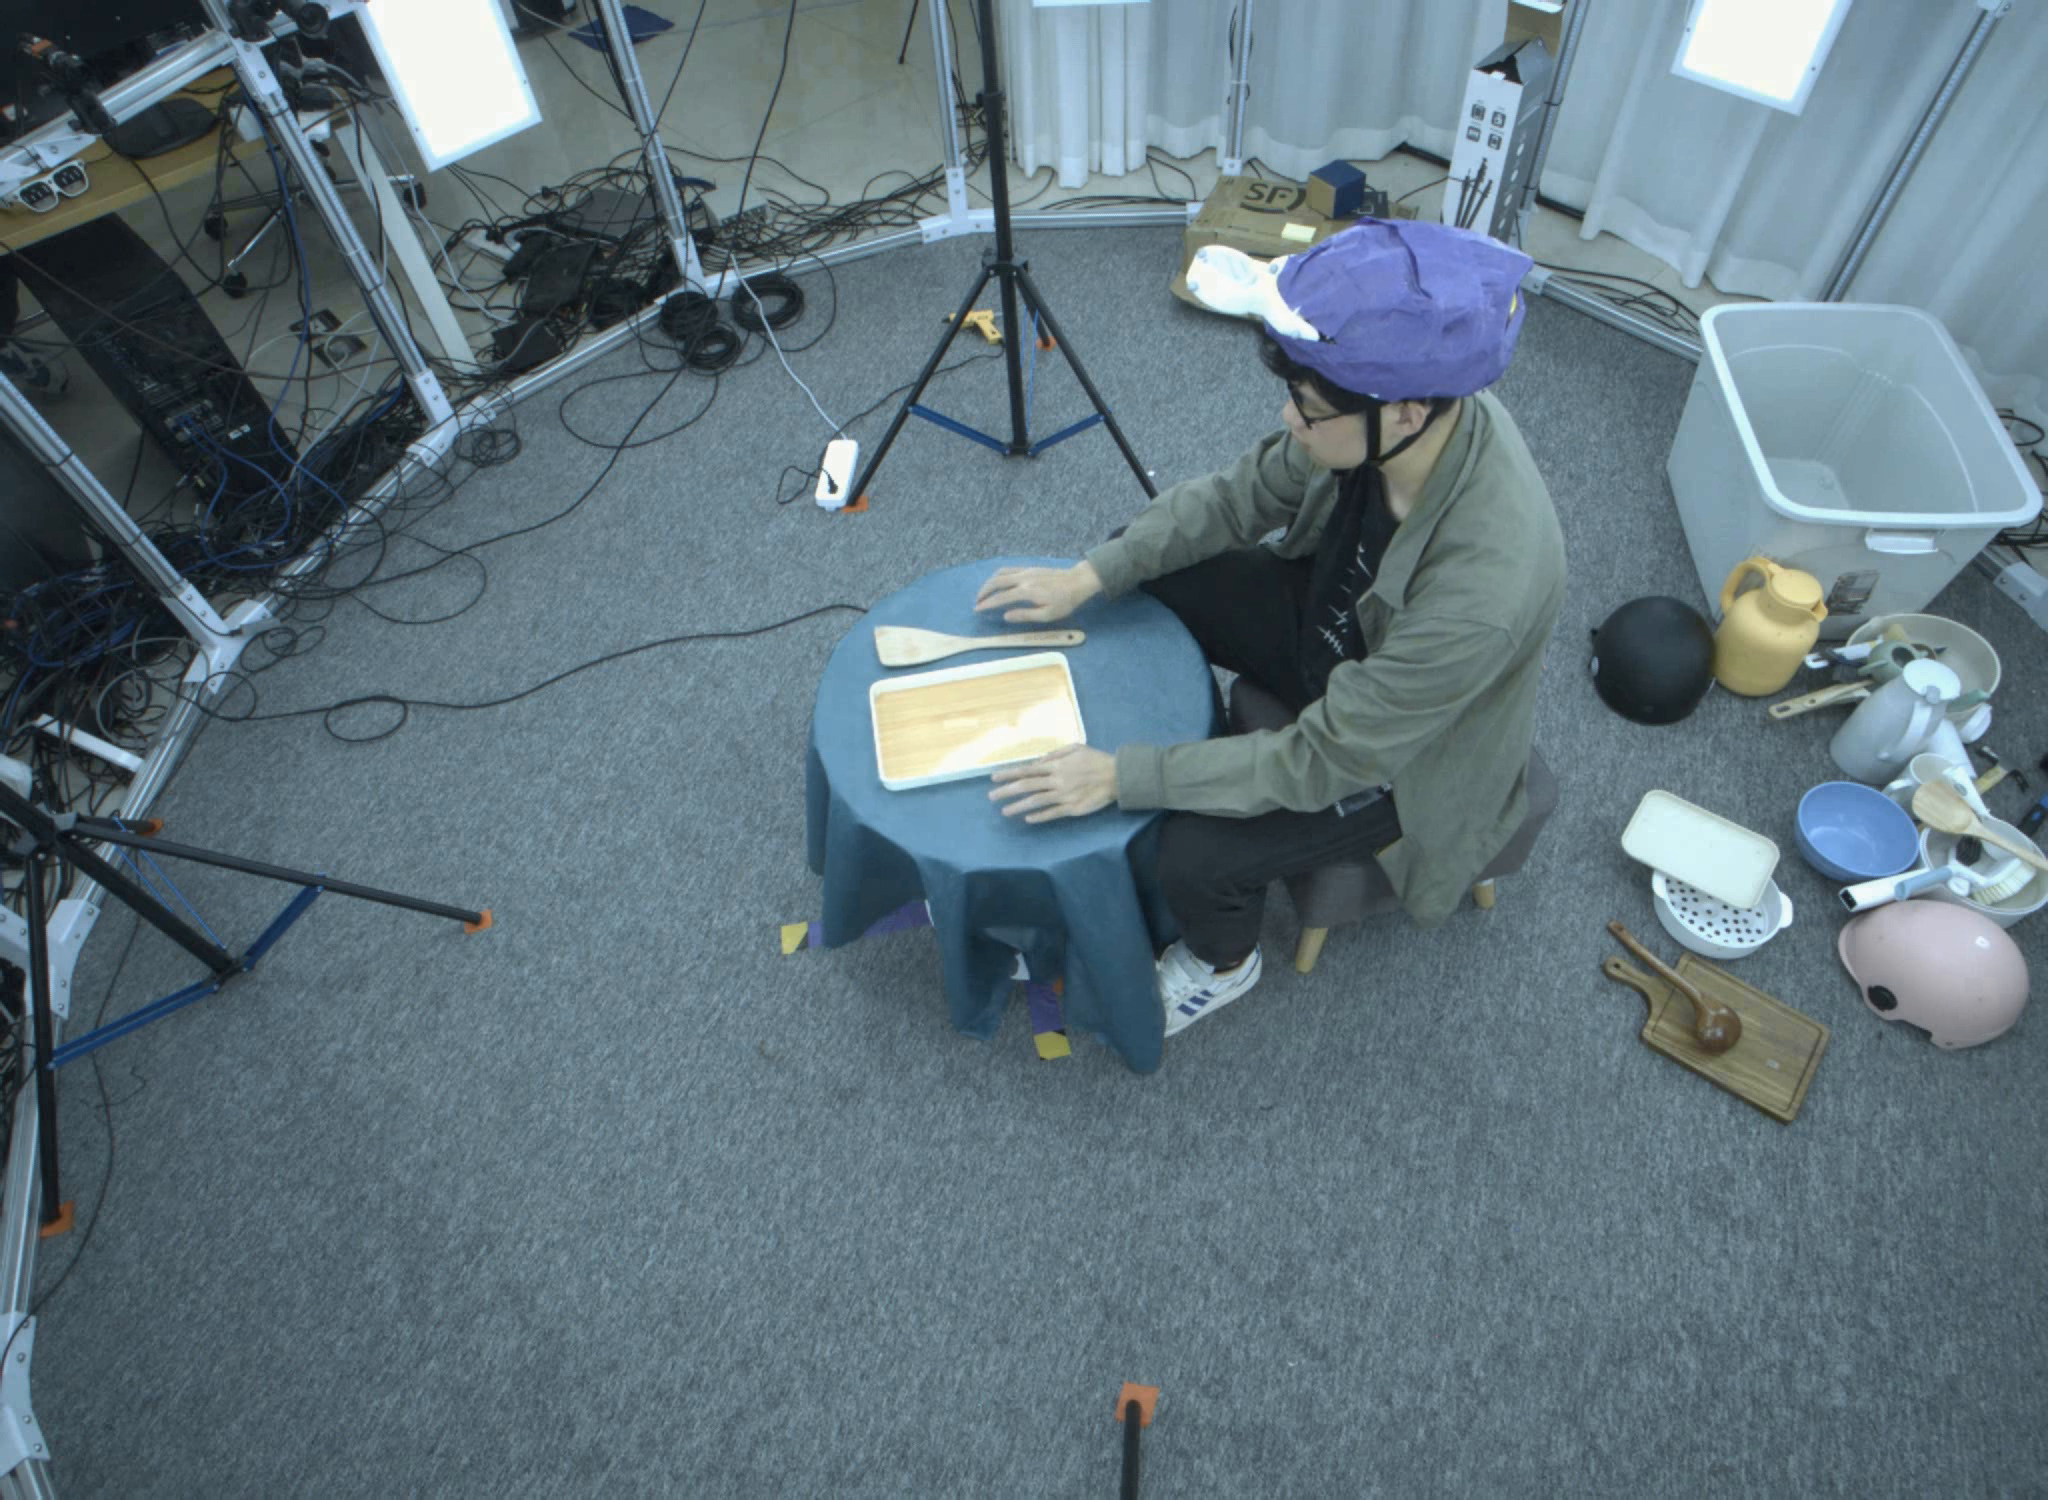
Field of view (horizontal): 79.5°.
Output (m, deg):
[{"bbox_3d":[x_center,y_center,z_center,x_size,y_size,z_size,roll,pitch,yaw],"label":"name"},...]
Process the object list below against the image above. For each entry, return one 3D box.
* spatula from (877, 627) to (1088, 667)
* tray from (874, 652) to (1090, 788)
[{"bbox_3d":[-0.065,-0.169,1.904,0.328,0.017,0.079,-4,55,-1],"label":"spatula"},{"bbox_3d":[-0.065,-0.047,1.810,0.301,0.027,0.189,-8,55,-6],"label":"tray"}]
